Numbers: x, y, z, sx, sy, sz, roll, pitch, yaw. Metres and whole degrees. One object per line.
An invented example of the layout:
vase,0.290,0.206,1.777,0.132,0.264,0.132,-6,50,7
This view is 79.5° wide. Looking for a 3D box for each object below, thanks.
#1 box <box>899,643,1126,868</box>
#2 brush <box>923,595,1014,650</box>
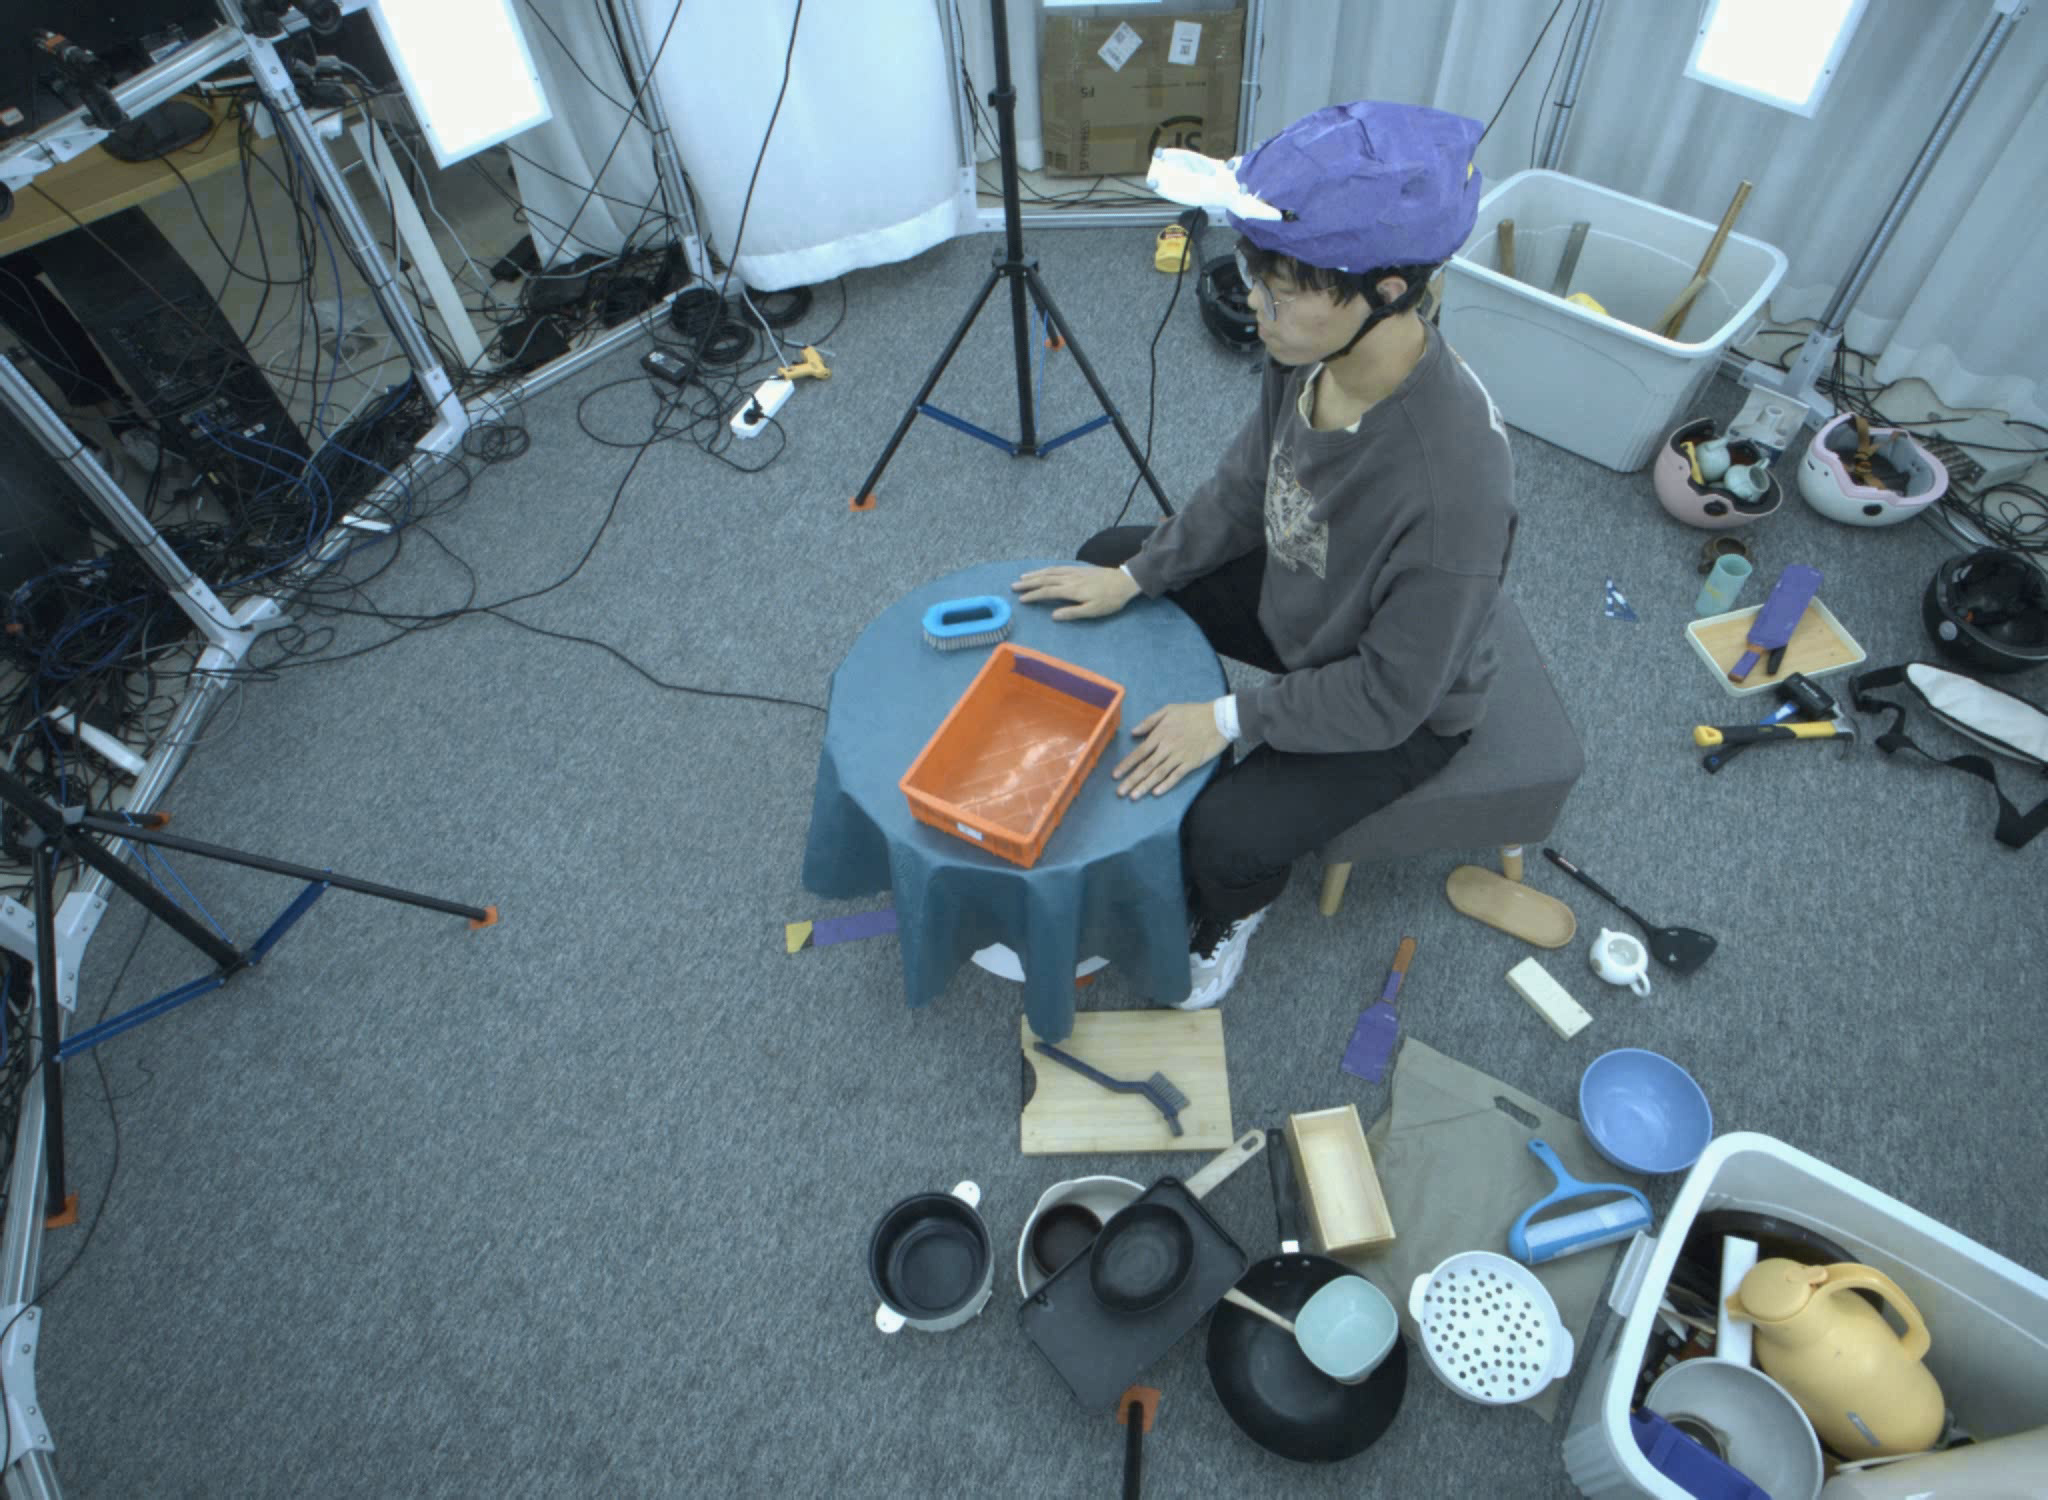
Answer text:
box,-0.009,0.006,1.728,0.204,0.097,0.304,23,59,18
brush,-0.087,-0.207,1.897,0.142,0.064,0.083,-6,49,-4
